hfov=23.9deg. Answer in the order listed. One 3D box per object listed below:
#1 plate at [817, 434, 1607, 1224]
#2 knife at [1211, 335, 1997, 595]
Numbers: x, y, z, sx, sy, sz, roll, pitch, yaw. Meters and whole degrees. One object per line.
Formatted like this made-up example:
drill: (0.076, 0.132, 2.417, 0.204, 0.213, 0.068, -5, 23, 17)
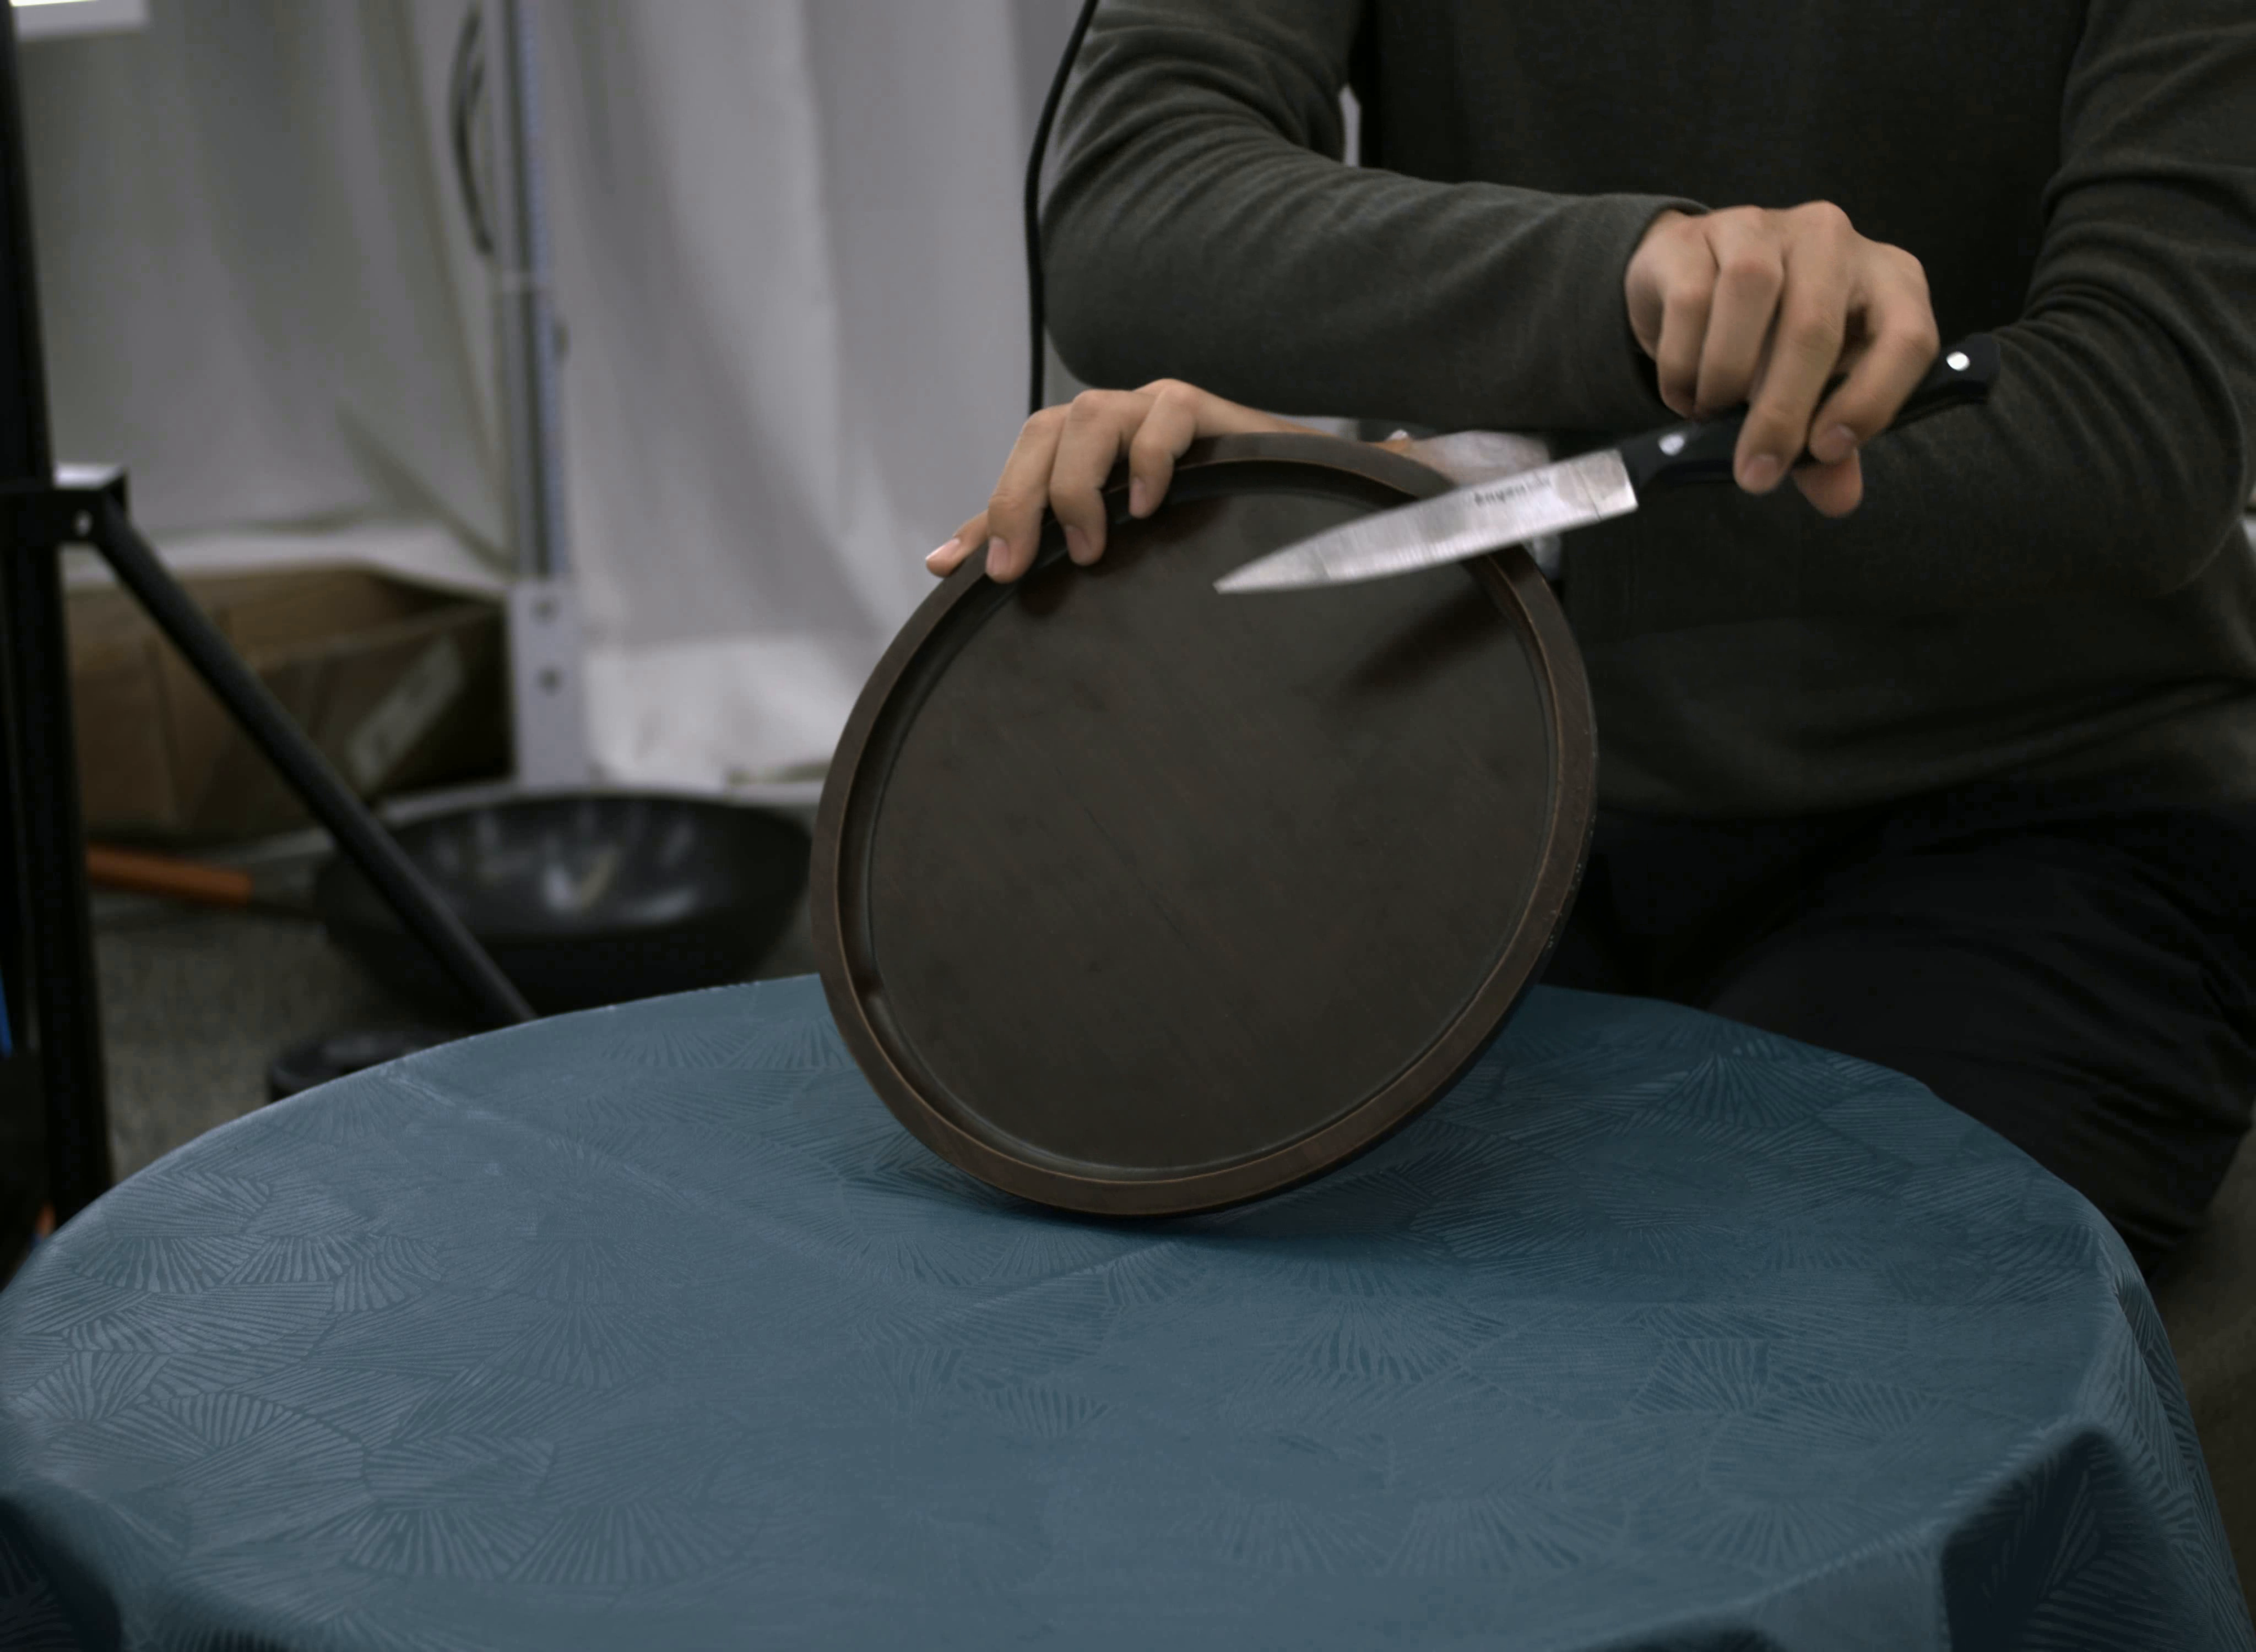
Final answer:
plate: (0.024, 0.000, 1.581, 0.259, 0.256, 0.028, 6, -21, 28)
knife: (0.138, -0.103, 1.556, 0.238, 0.025, 0.016, -16, -21, 5)
